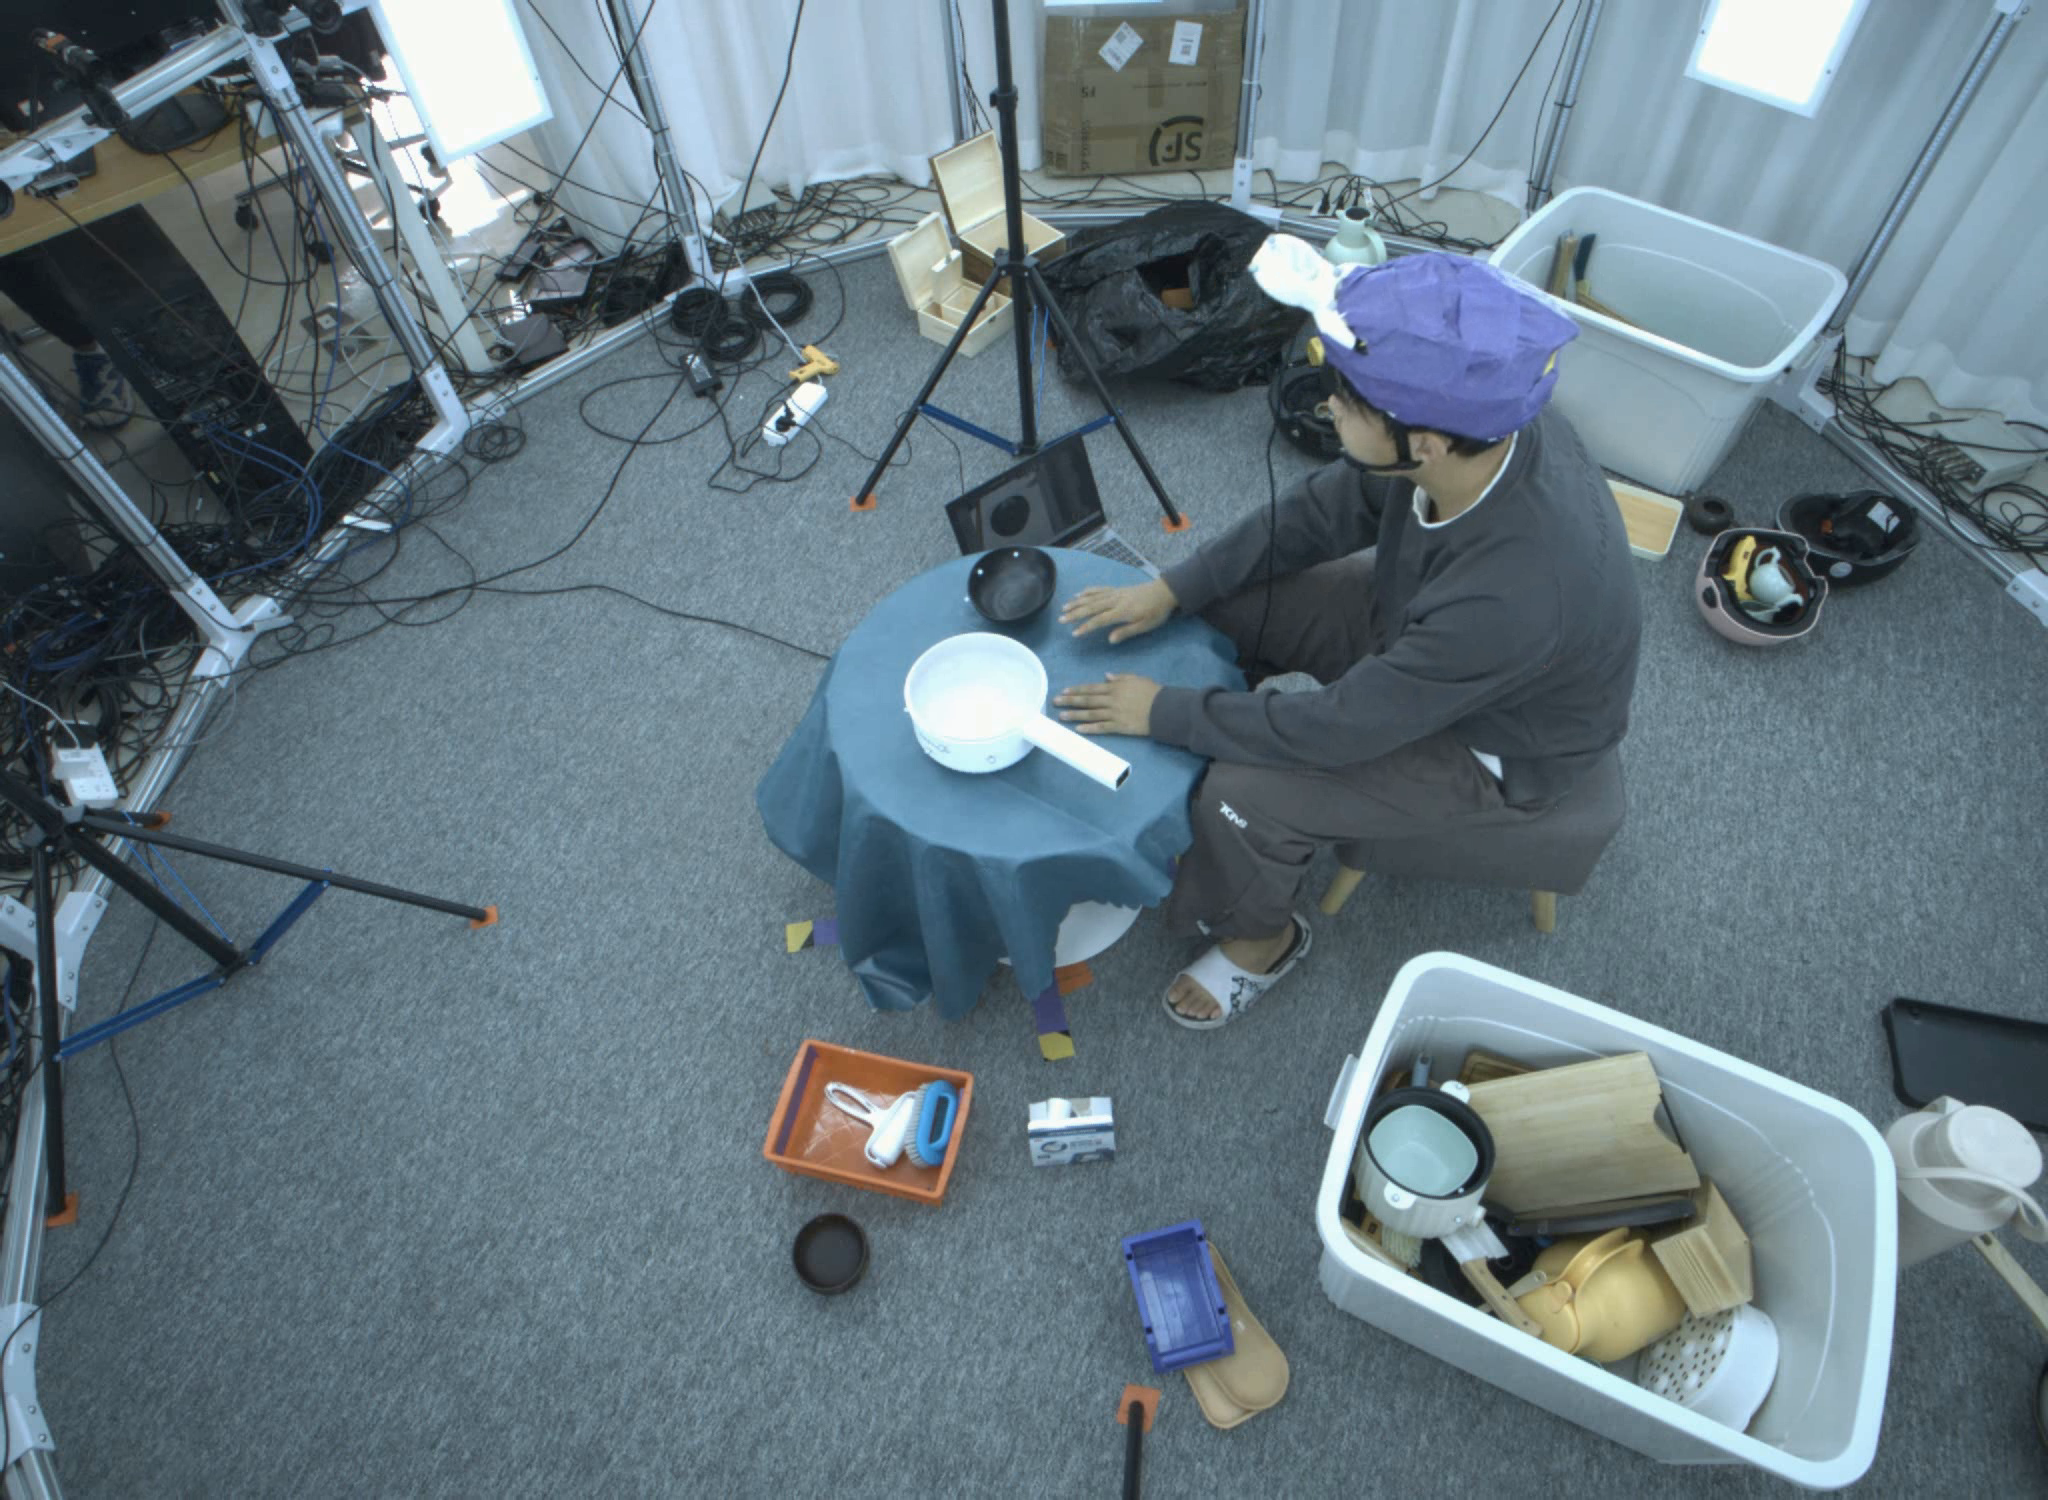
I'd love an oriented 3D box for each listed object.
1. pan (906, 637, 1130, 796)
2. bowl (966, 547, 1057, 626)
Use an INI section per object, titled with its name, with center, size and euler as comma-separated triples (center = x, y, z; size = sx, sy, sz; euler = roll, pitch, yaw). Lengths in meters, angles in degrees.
[pan]
center = -0.006, -0.022, 1.753
size = 0.349, 0.103, 0.202
euler = 31, 58, 19
[bowl]
center = -0.017, -0.249, 1.924
size = 0.136, 0.067, 0.170
euler = 14, 55, 11
